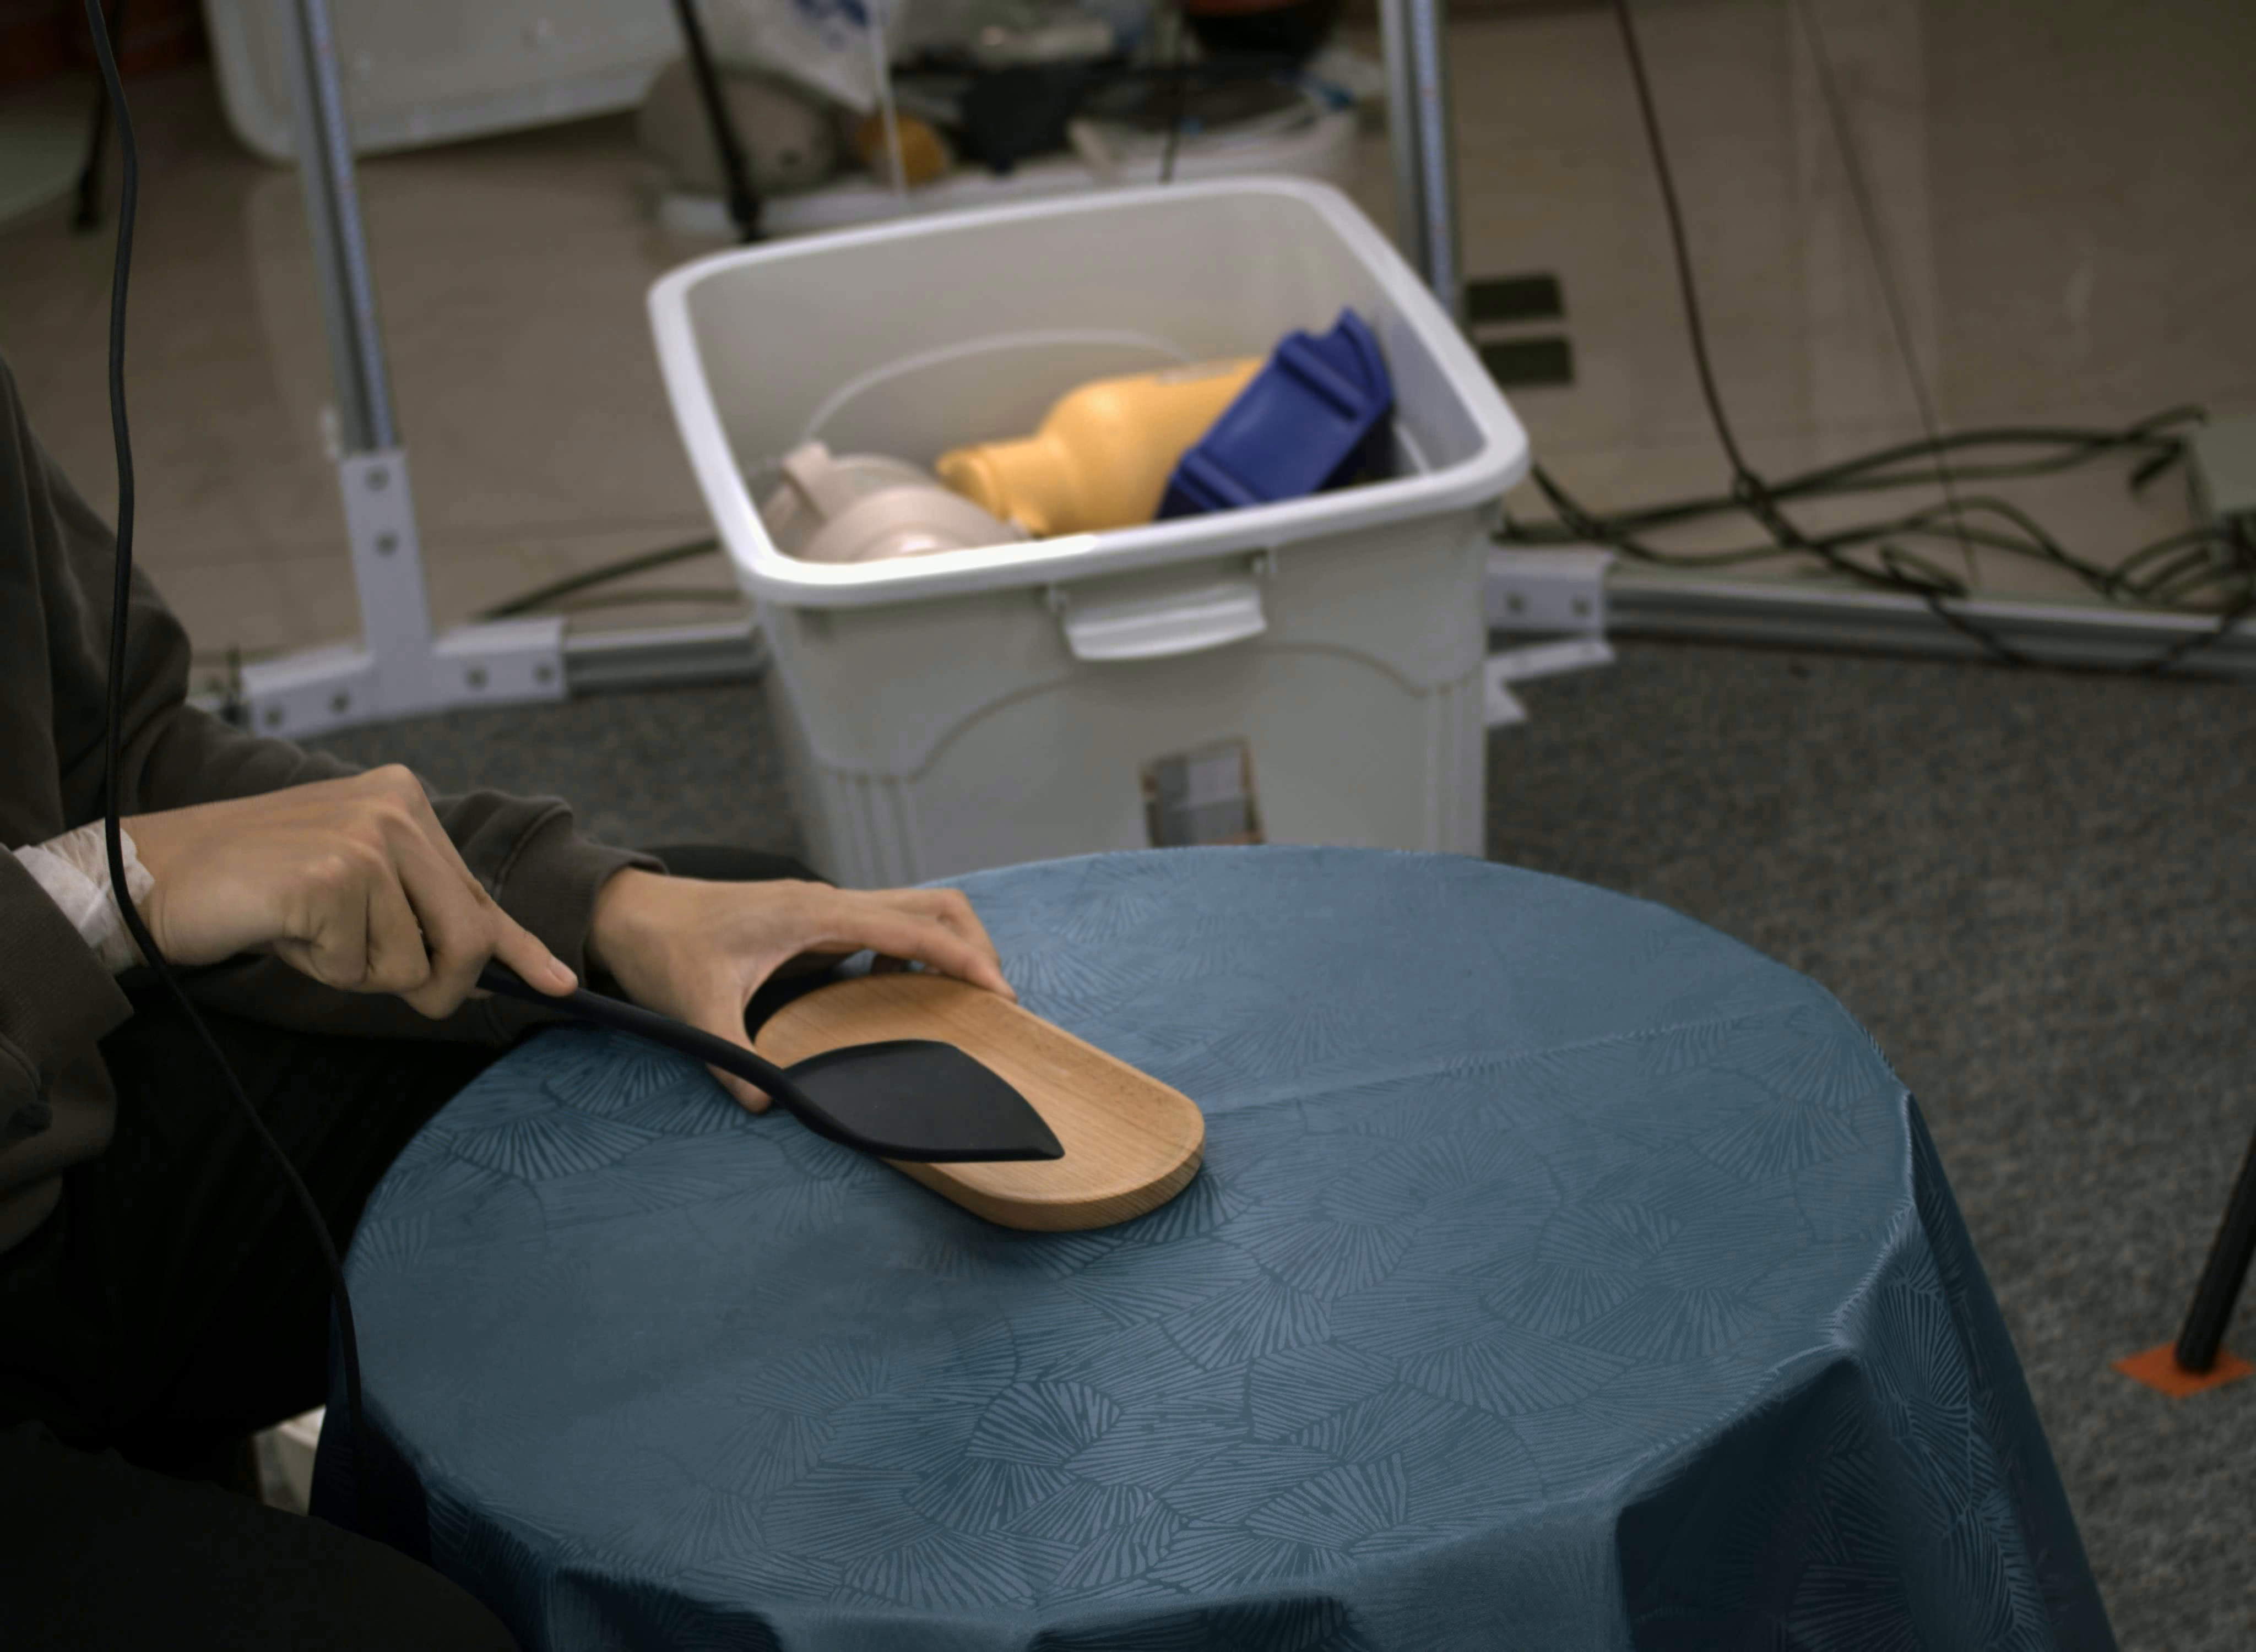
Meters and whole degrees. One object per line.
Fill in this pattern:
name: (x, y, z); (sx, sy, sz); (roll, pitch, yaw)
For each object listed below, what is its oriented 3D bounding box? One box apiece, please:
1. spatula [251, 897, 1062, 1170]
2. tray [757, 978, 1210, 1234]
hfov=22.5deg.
spatula: (-0.169, 0.068, 2.021); (0.328, 0.040, 0.098); (24, 9, -36)
tray: (-0.058, 0.108, 2.209); (0.101, 0.020, 0.229); (-24, 32, -30)
